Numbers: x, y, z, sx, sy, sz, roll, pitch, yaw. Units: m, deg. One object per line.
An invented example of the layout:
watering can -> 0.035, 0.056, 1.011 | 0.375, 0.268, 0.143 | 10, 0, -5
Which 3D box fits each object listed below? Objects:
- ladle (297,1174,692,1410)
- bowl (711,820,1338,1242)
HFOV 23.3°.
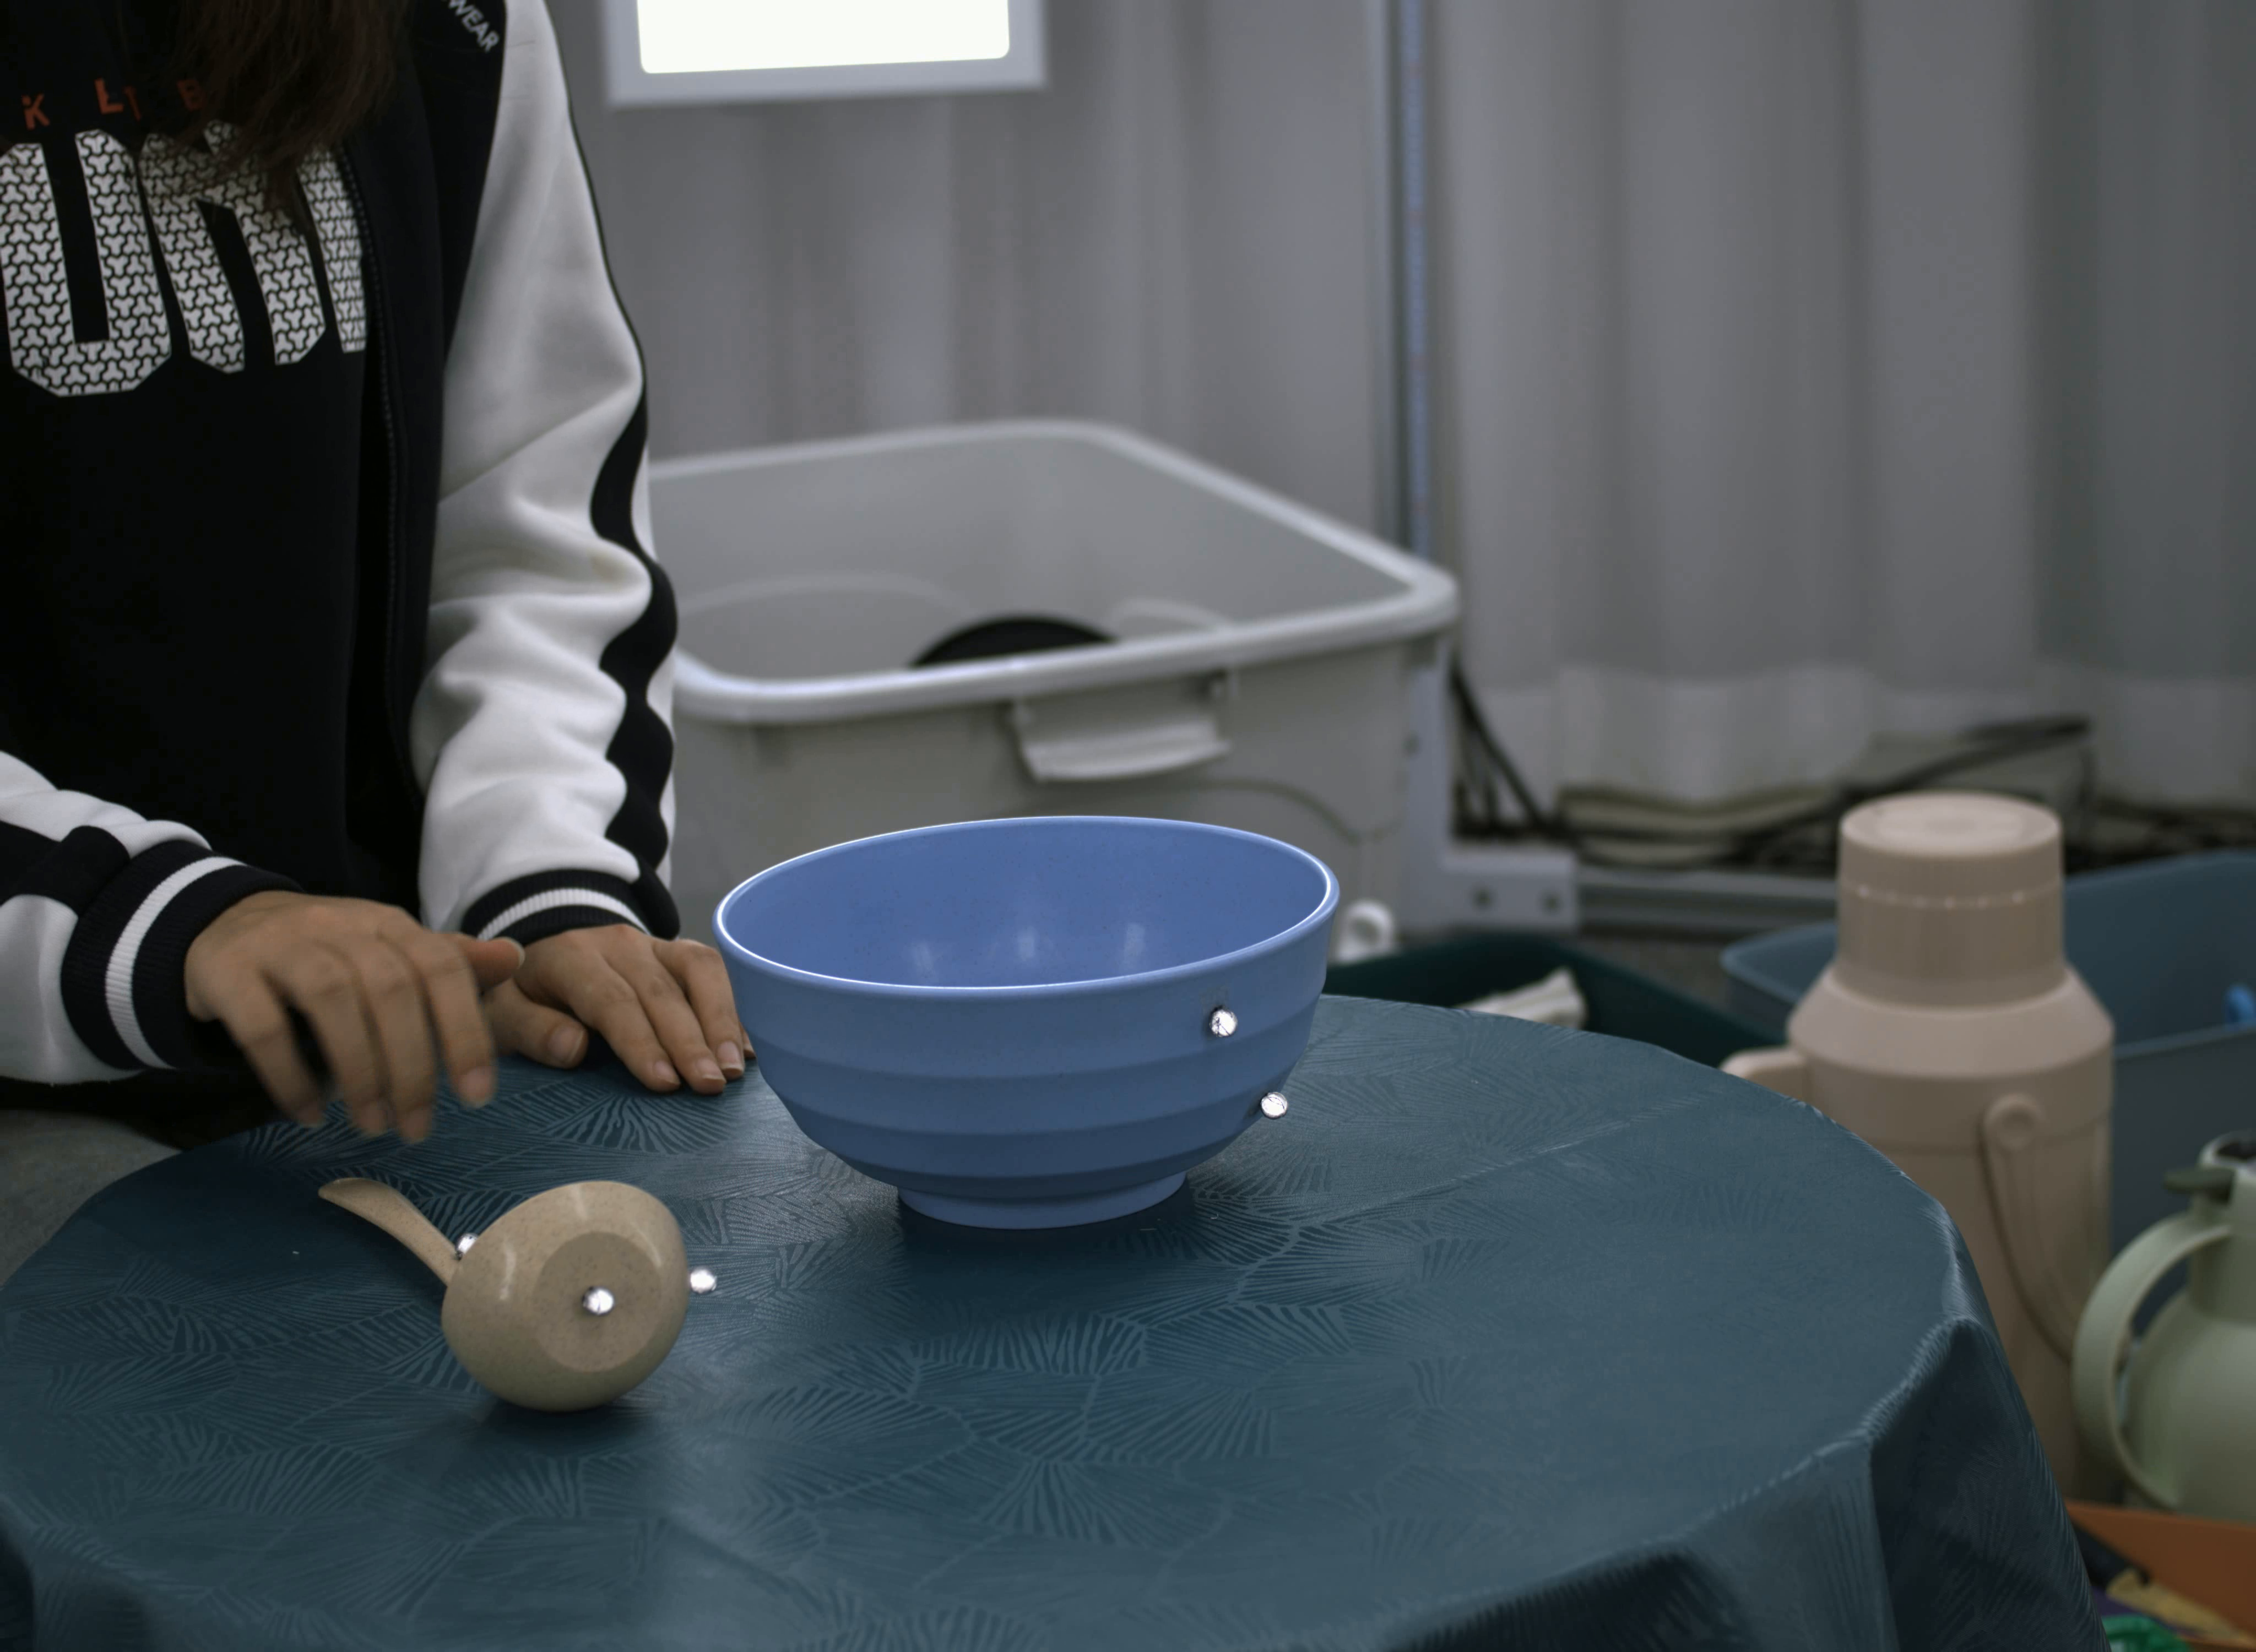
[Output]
ladle -> -0.203, 0.110, 1.631 | 0.072, 0.072, 0.256 | -8, 16, -26
bowl -> -0.029, 0.071, 1.716 | 0.196, 0.095, 0.198 | -4, 15, 1
